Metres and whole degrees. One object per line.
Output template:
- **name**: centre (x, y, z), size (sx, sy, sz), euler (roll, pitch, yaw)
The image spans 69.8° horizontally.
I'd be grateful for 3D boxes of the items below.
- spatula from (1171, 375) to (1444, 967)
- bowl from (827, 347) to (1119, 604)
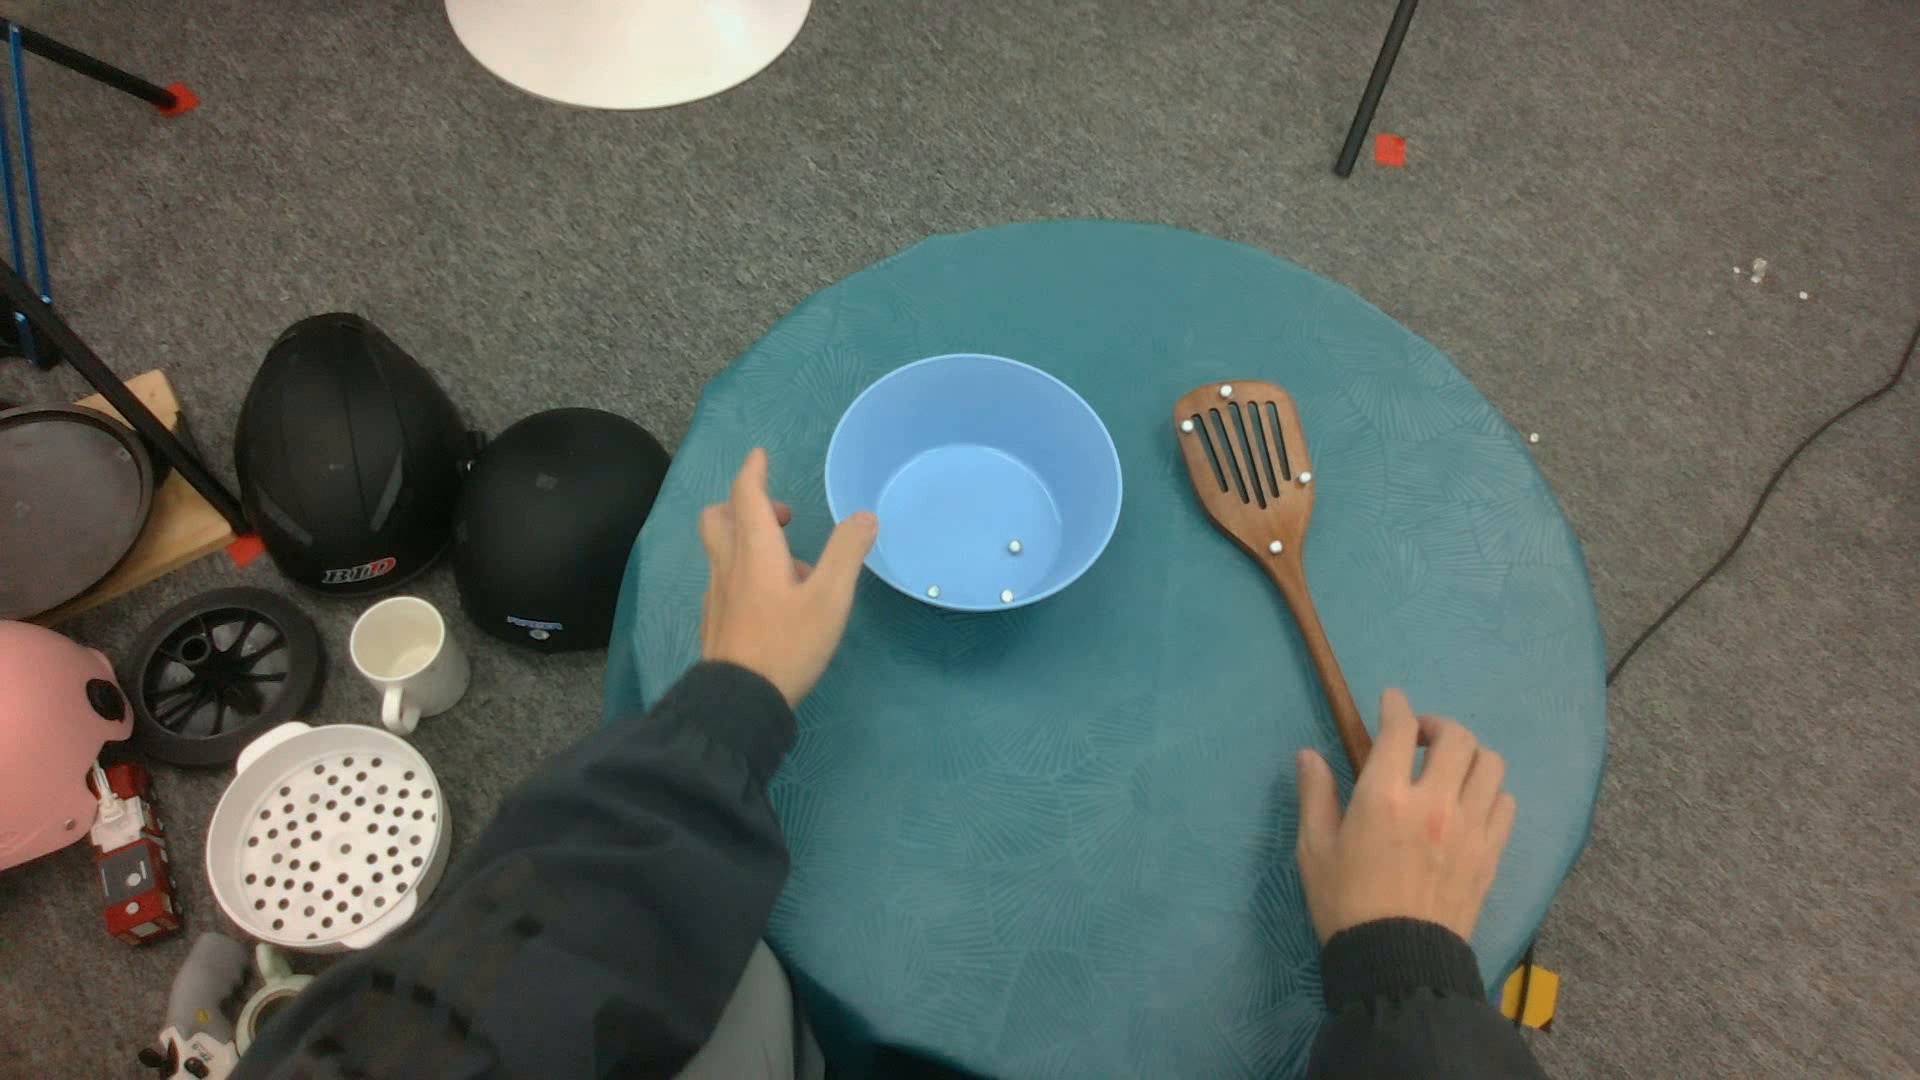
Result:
- **spatula**: centre (0.217, 0.065, 0.841), size (0.085, 0.024, 0.388), euler (-9, 64, -9)
- **bowl**: centre (0.007, -0.029, 0.850), size (0.176, 0.070, 0.177), euler (1, 62, -3)
